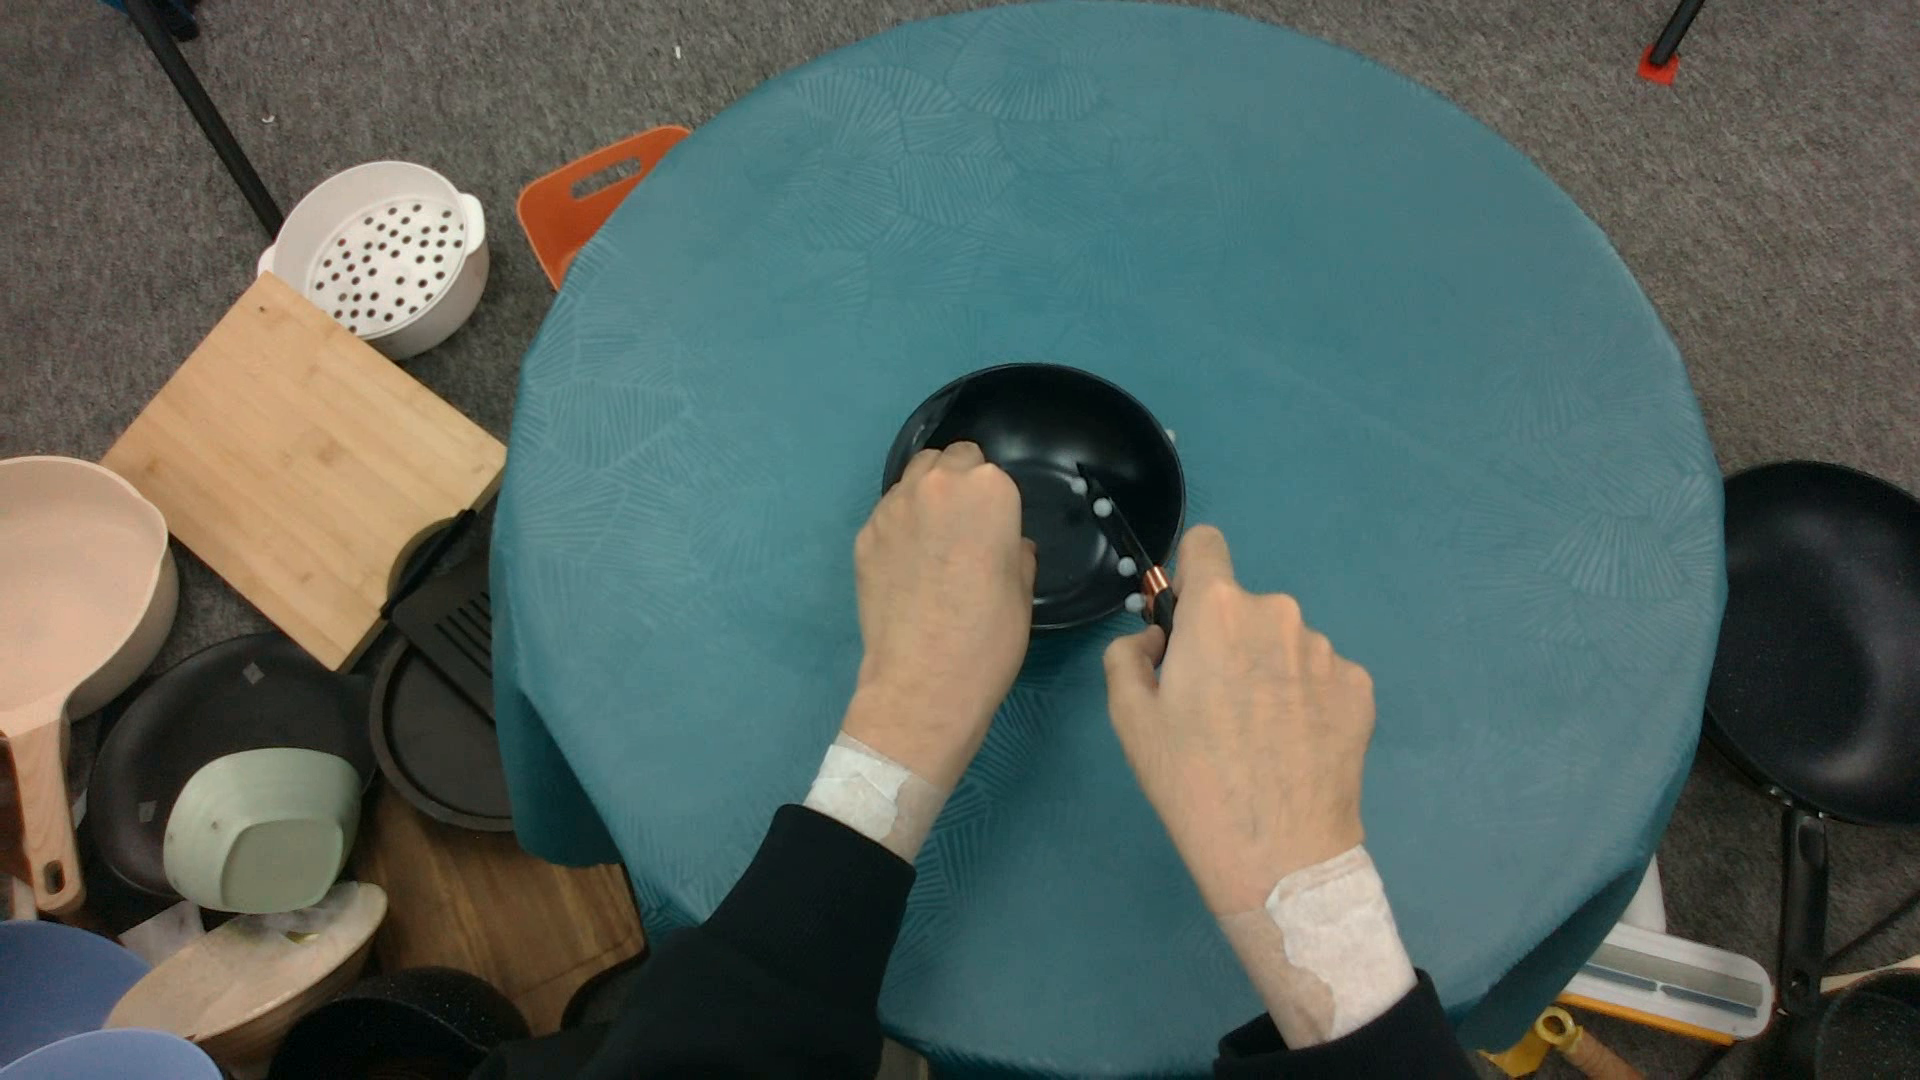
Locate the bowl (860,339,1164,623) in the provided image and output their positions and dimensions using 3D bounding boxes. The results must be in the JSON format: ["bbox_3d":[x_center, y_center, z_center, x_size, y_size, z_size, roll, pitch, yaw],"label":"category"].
[{"bbox_3d":[0.023,-0.022,0.645,0.140,0.049,0.140,1,69,-2],"label":"bowl"}]

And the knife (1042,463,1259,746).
[{"bbox_3d":[0.071,0.014,0.582,0.017,0.026,0.226,-4,31,-15],"label":"knife"}]
